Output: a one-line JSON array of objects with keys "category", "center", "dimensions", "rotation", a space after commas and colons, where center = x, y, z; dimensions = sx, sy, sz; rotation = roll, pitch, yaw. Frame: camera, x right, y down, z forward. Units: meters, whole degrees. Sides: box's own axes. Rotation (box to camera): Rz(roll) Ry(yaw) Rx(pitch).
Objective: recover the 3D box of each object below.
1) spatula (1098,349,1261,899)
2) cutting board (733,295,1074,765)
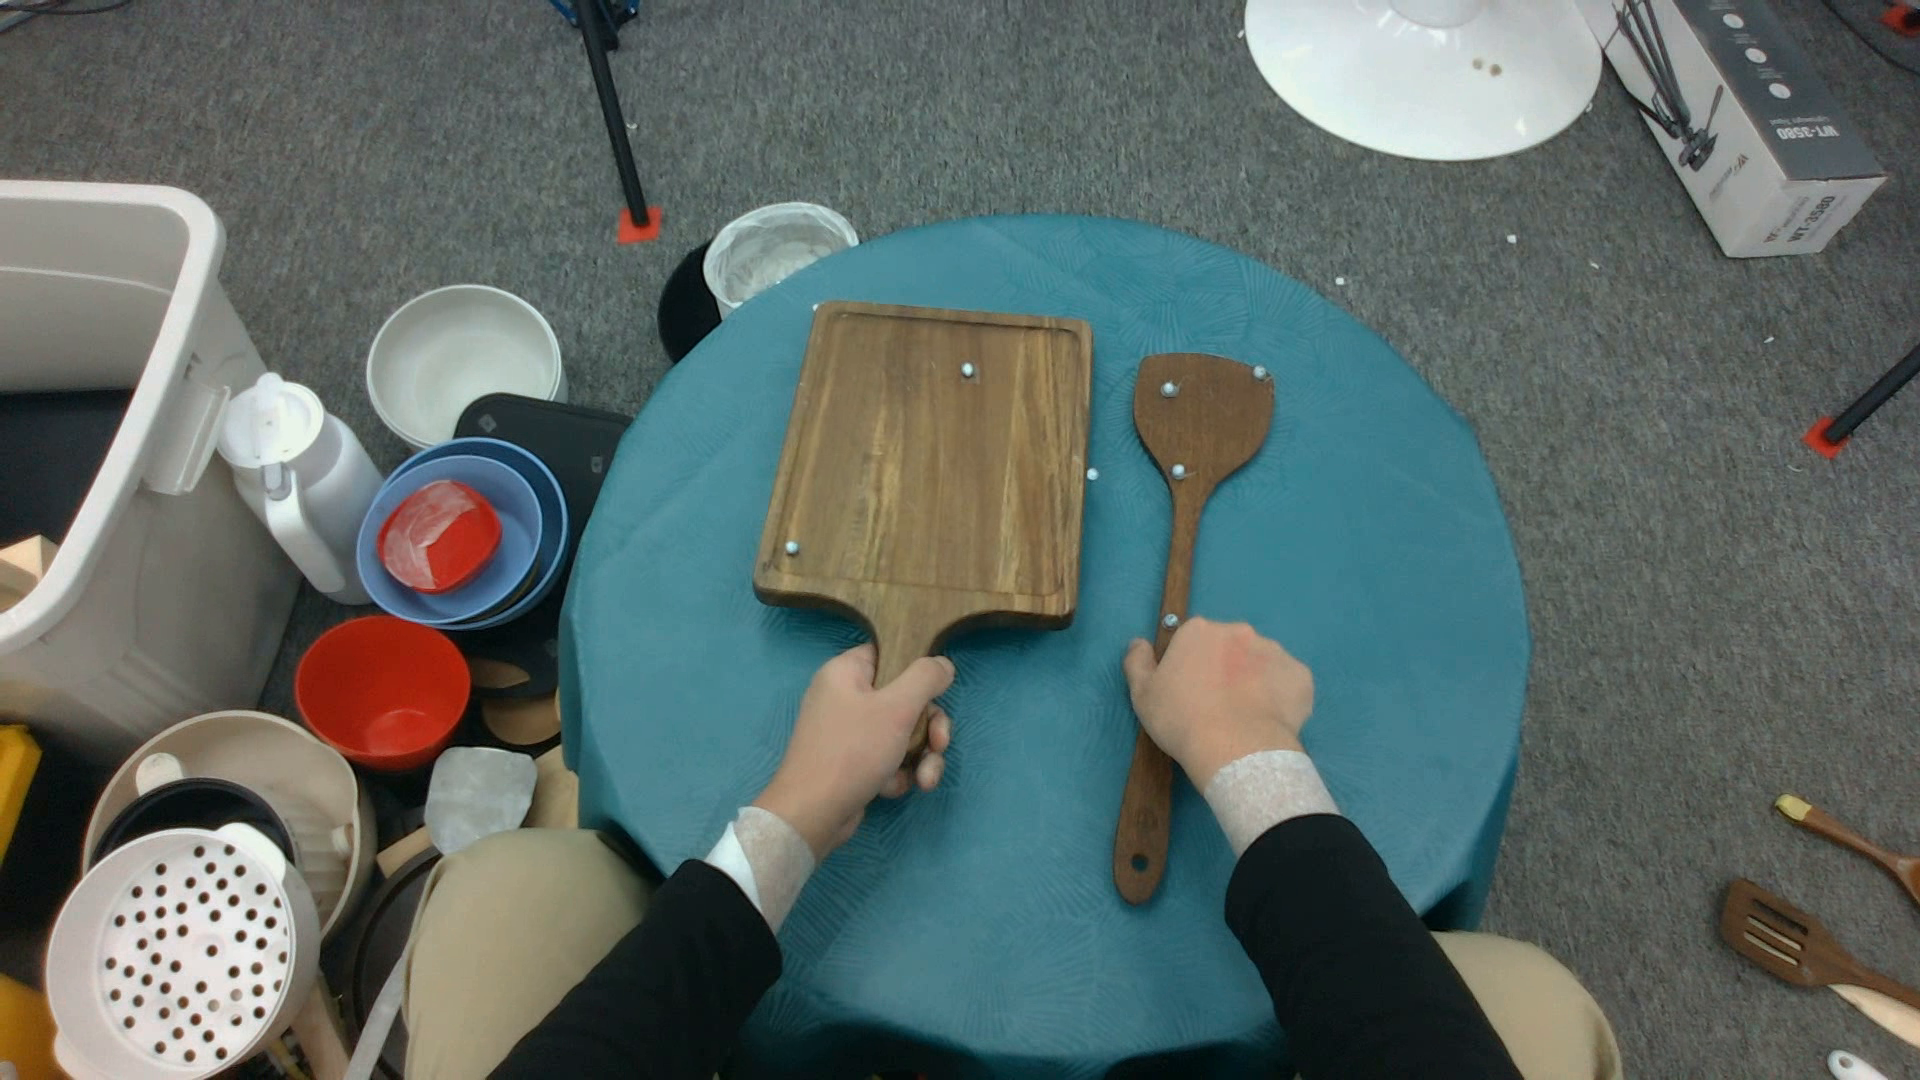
[{"category": "spatula", "center": [0.125, 0.033, 0.854], "dimensions": [0.096, 0.016, 0.387], "rotation": [10, 59, 5]}, {"category": "cutting board", "center": [-0.032, -0.022, 0.859], "dimensions": [0.201, 0.023, 0.354], "rotation": [5, 53, 2]}]
